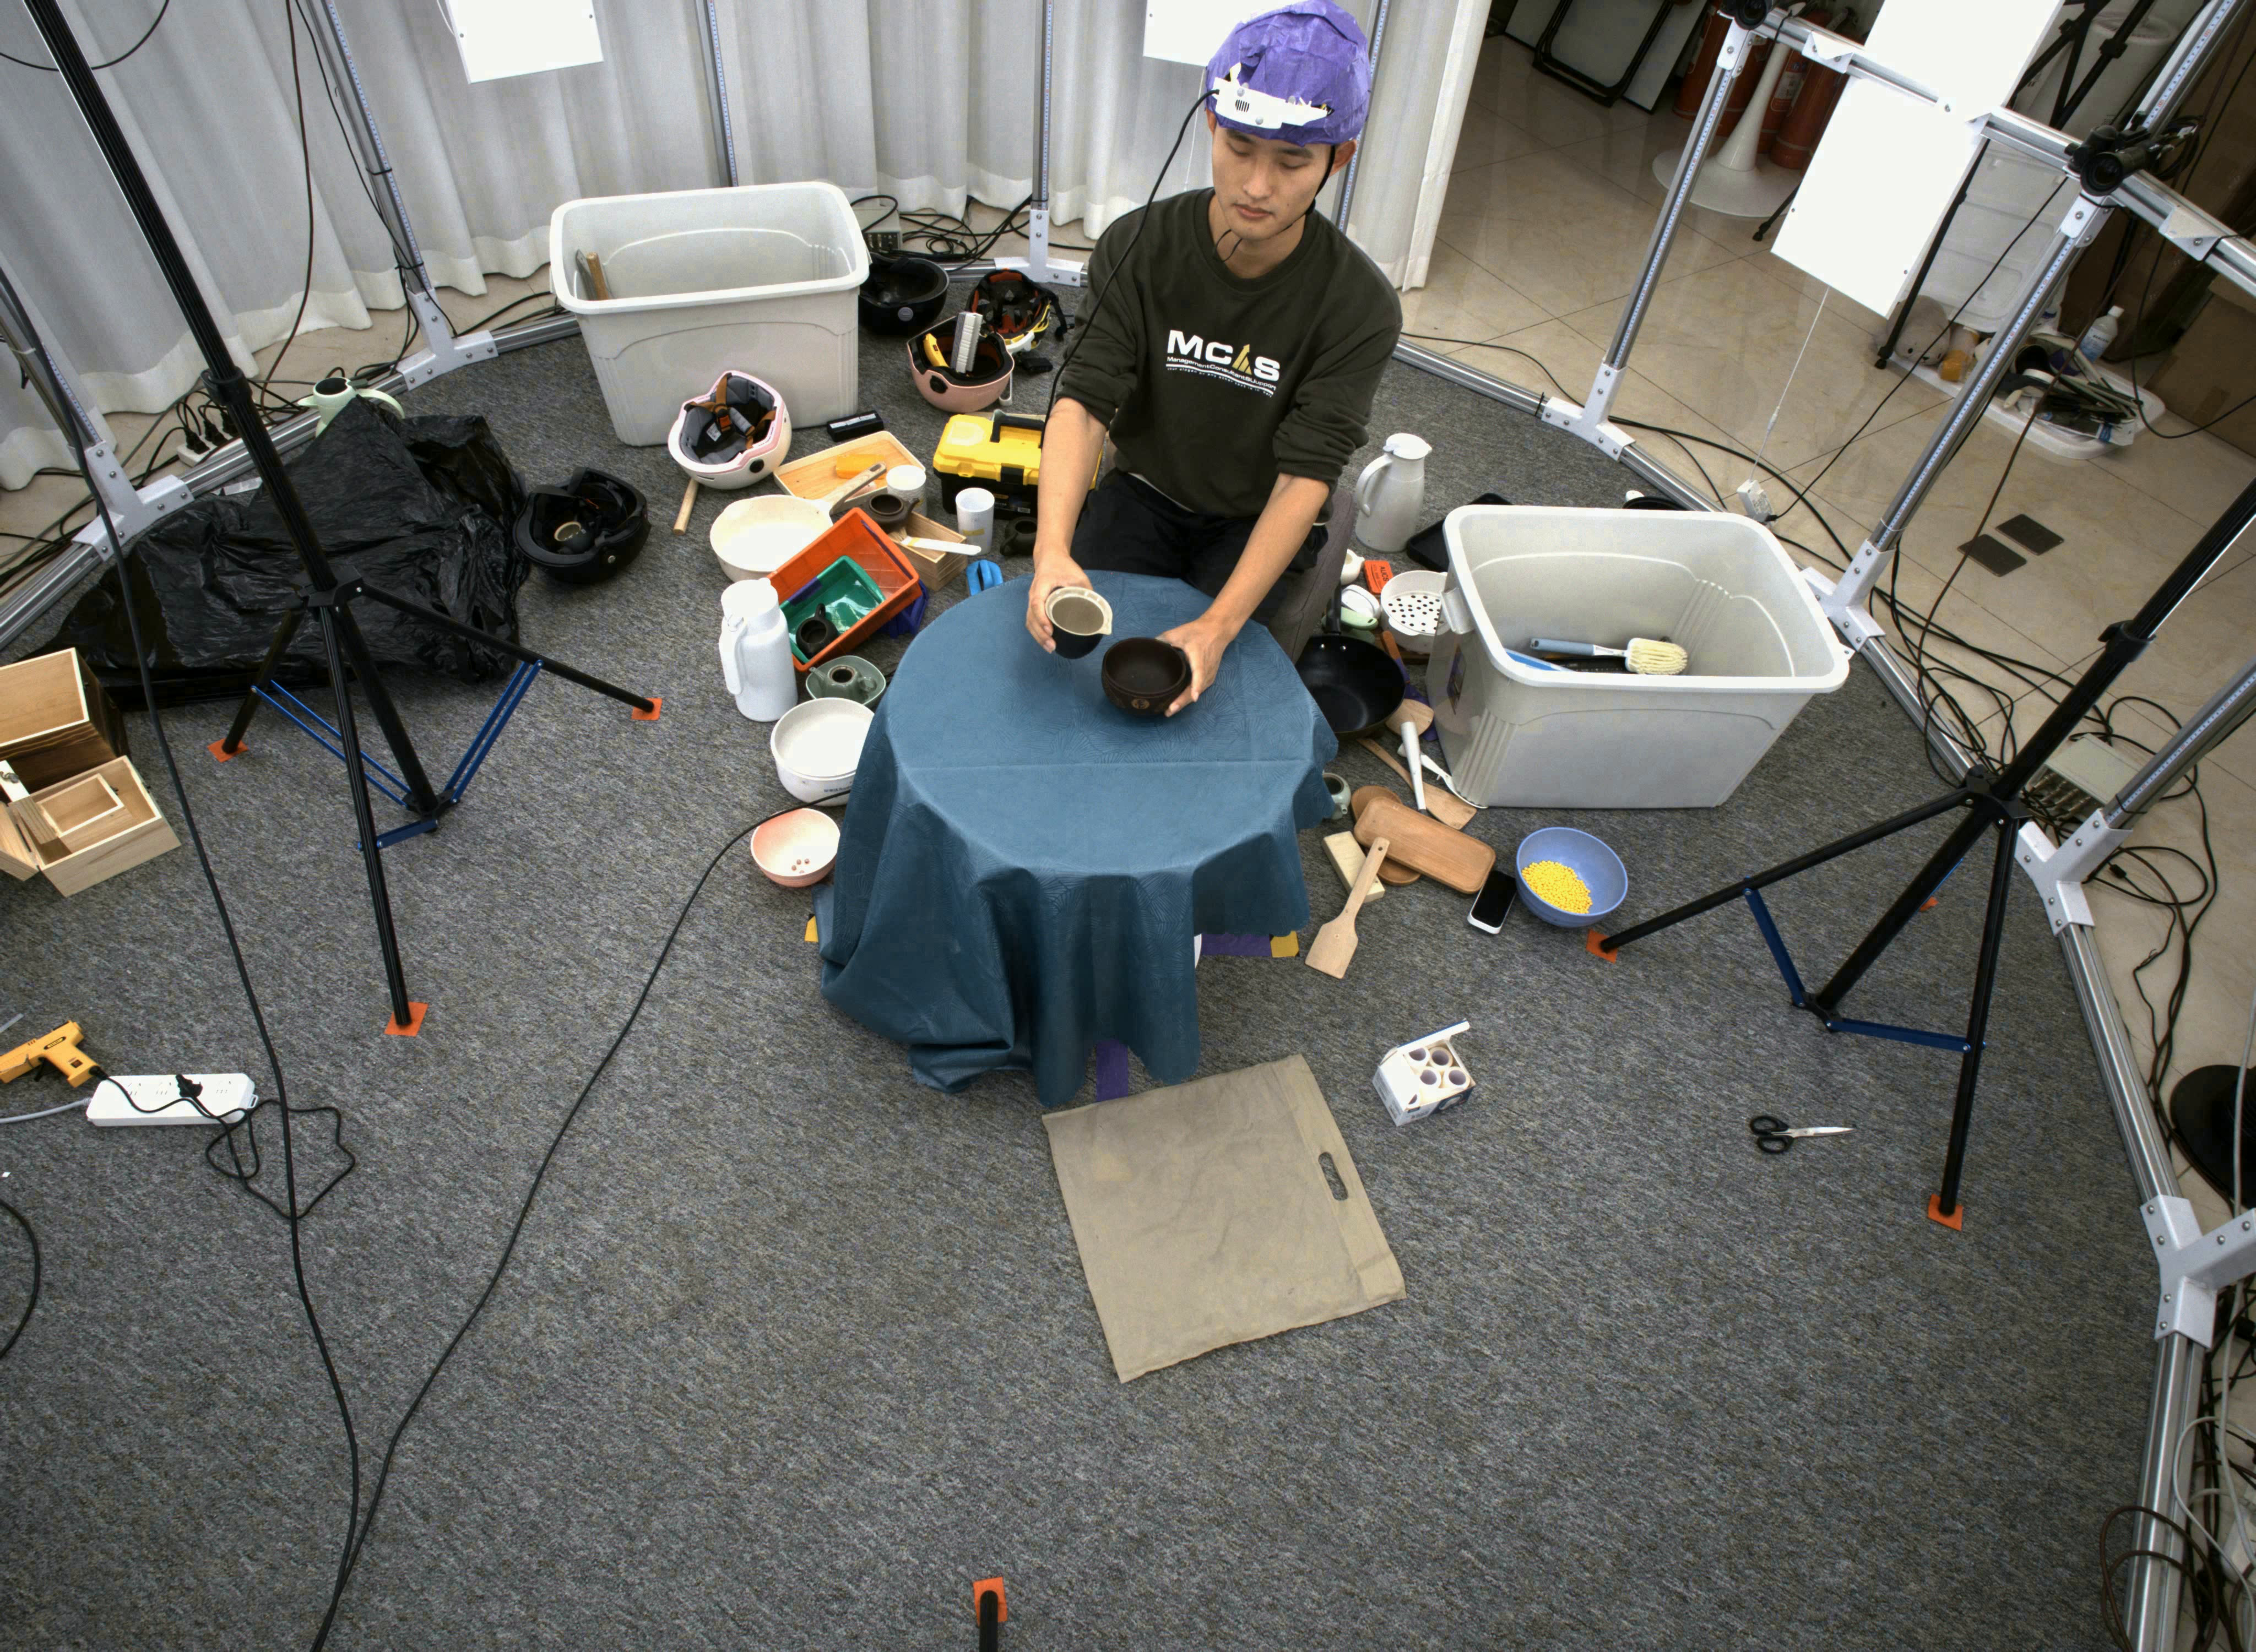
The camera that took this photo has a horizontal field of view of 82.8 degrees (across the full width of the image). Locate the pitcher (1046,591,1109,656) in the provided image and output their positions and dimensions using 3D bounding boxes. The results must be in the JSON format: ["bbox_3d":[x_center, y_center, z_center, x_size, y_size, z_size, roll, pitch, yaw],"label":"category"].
[{"bbox_3d":[-0.070,-0.275,1.782,0.097,0.070,0.084,41,52,18],"label":"pitcher"}]

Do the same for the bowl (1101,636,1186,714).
[{"bbox_3d":[0.021,-0.203,1.796,0.118,0.068,0.121,1,50,-2],"label":"bowl"}]
